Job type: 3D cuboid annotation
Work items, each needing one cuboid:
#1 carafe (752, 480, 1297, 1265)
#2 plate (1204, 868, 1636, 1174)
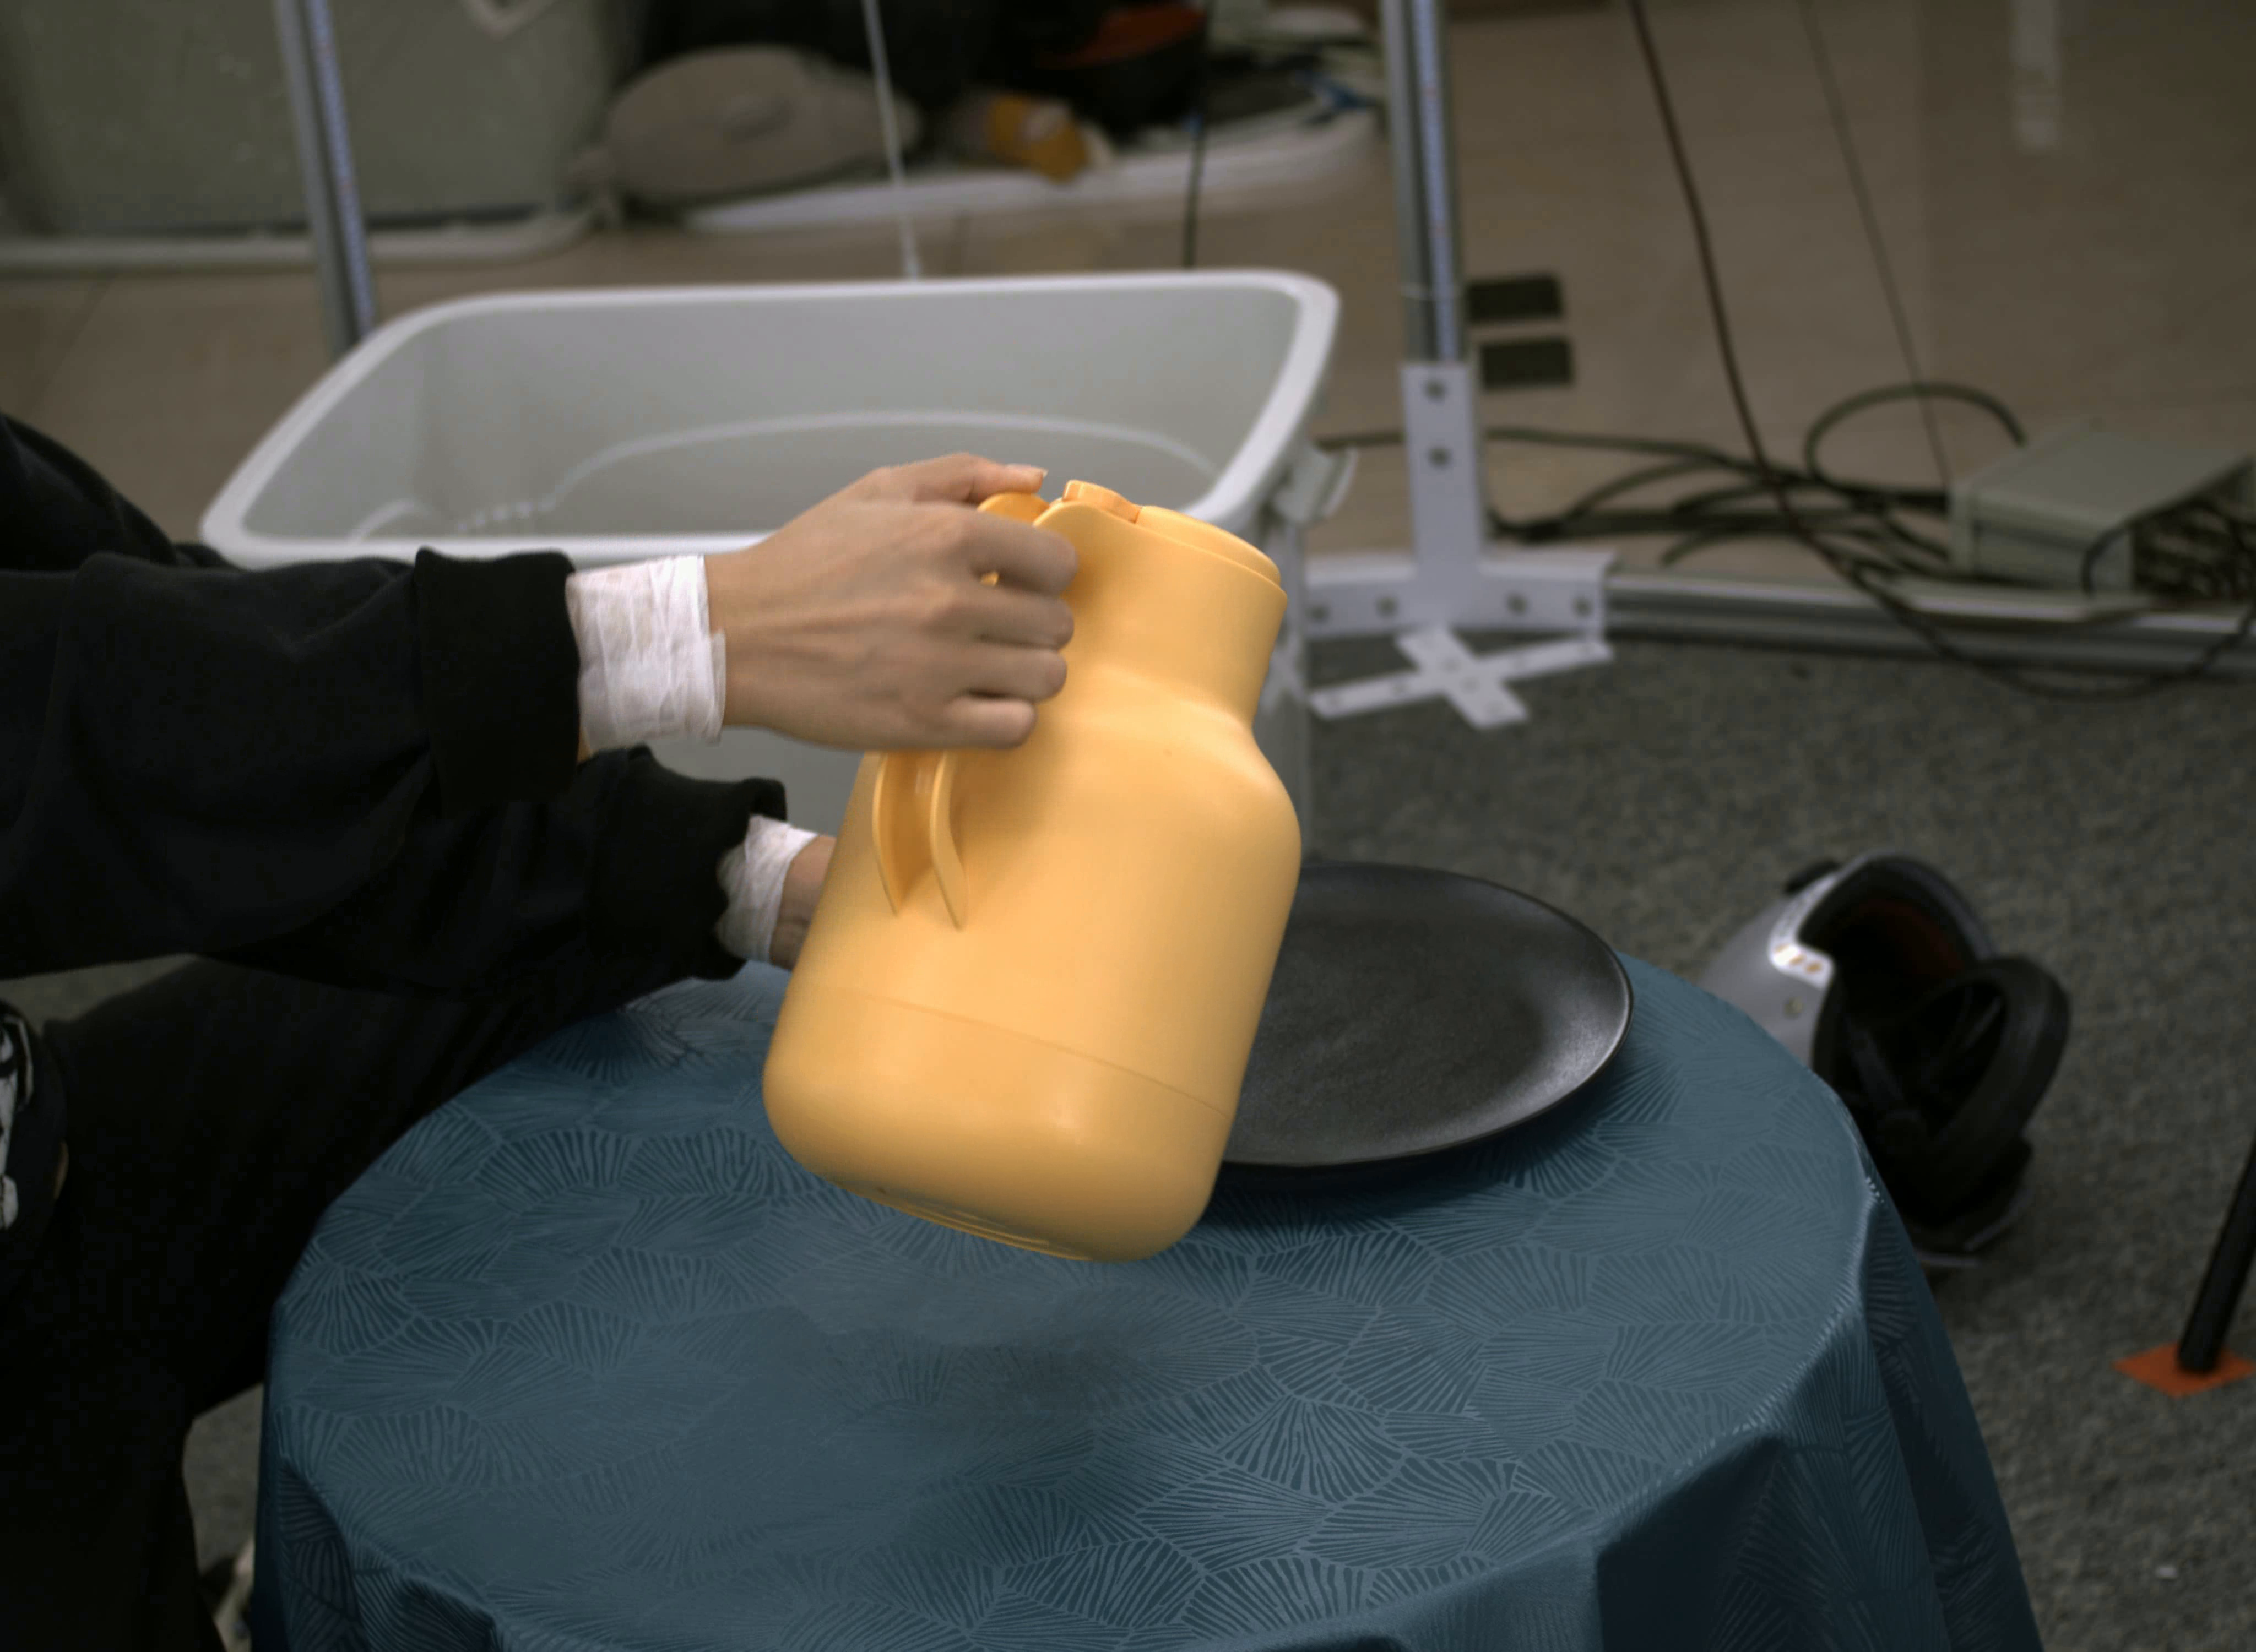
[{"bbox_3d":[-0.034,0.009,1.982,0.162,0.259,0.204,11,-12,31],"label":"carafe"},{"bbox_3d":[0.076,0.080,2.216,0.244,0.024,0.240,-3,27,1],"label":"plate"}]
